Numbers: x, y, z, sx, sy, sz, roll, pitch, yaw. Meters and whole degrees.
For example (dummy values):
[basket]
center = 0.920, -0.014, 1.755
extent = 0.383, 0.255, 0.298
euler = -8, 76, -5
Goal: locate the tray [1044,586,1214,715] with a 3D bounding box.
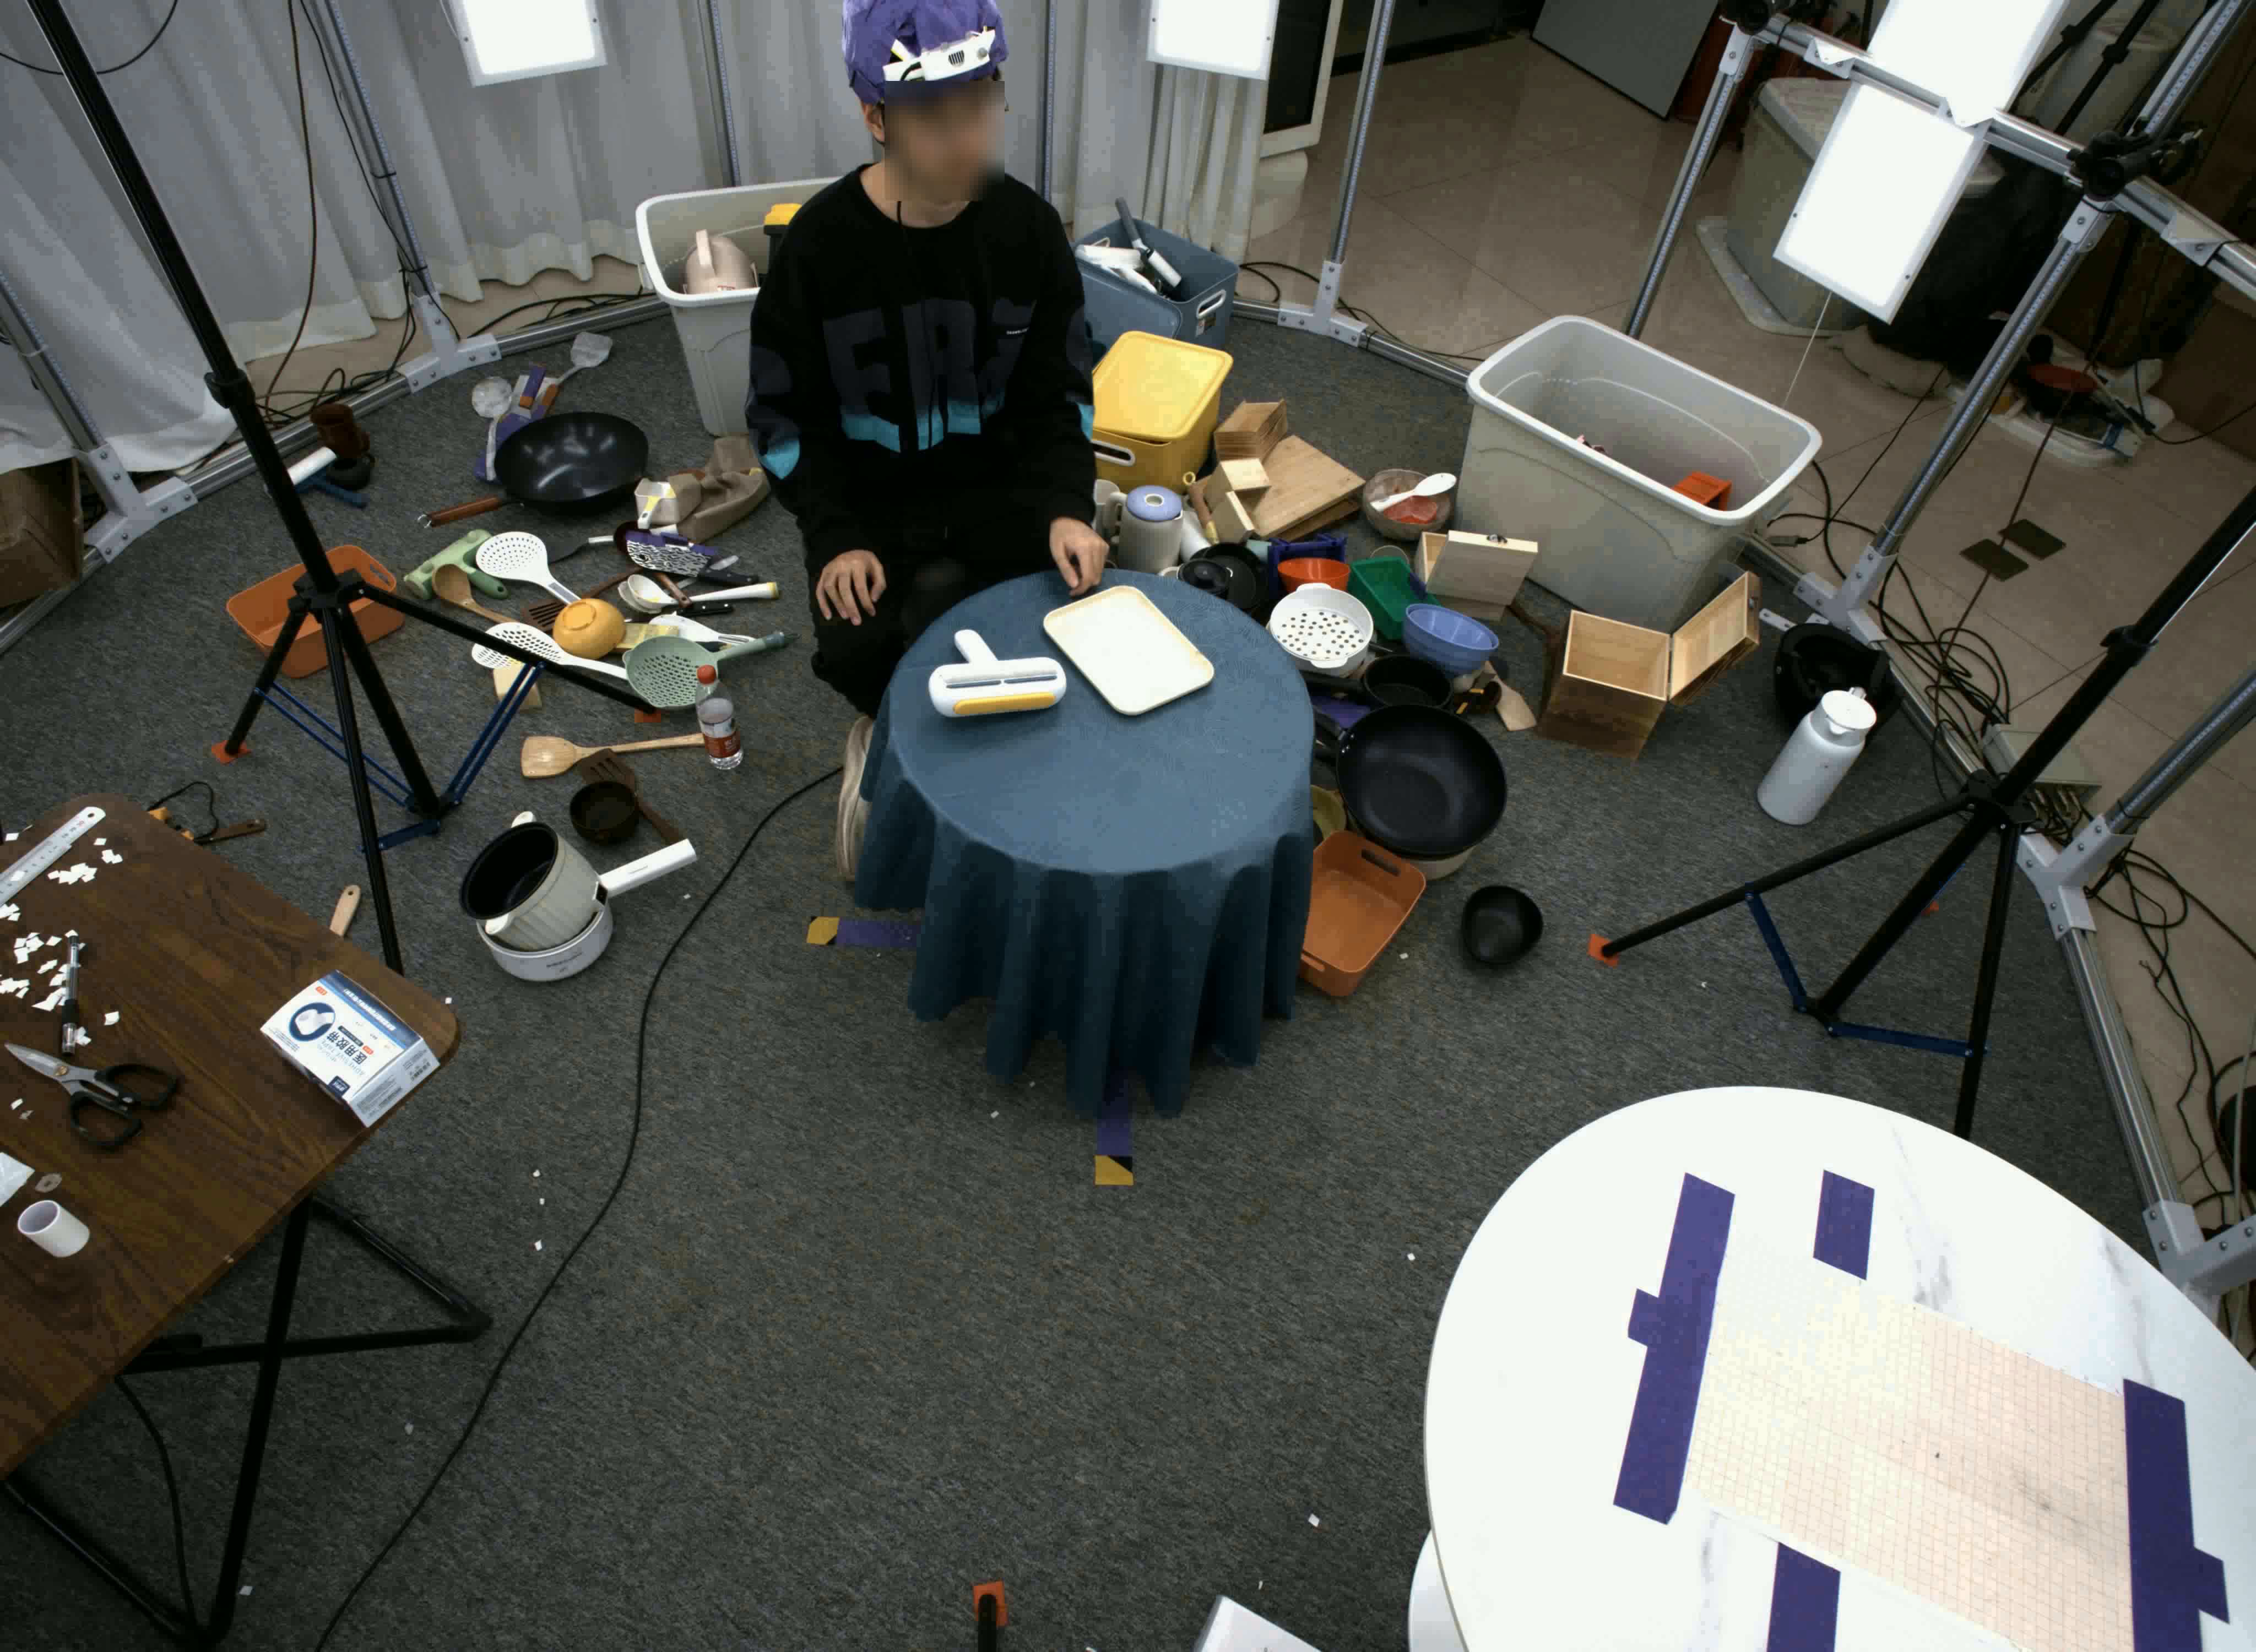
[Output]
[tray]
center = 0.000, -0.259, 1.881
extent = 0.172, 0.017, 0.244
euler = -25, 55, -22

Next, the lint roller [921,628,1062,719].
[lint roller]
center = -0.204, -0.228, 1.809
extent = 0.192, 0.072, 0.197
euler = -8, 48, -17
